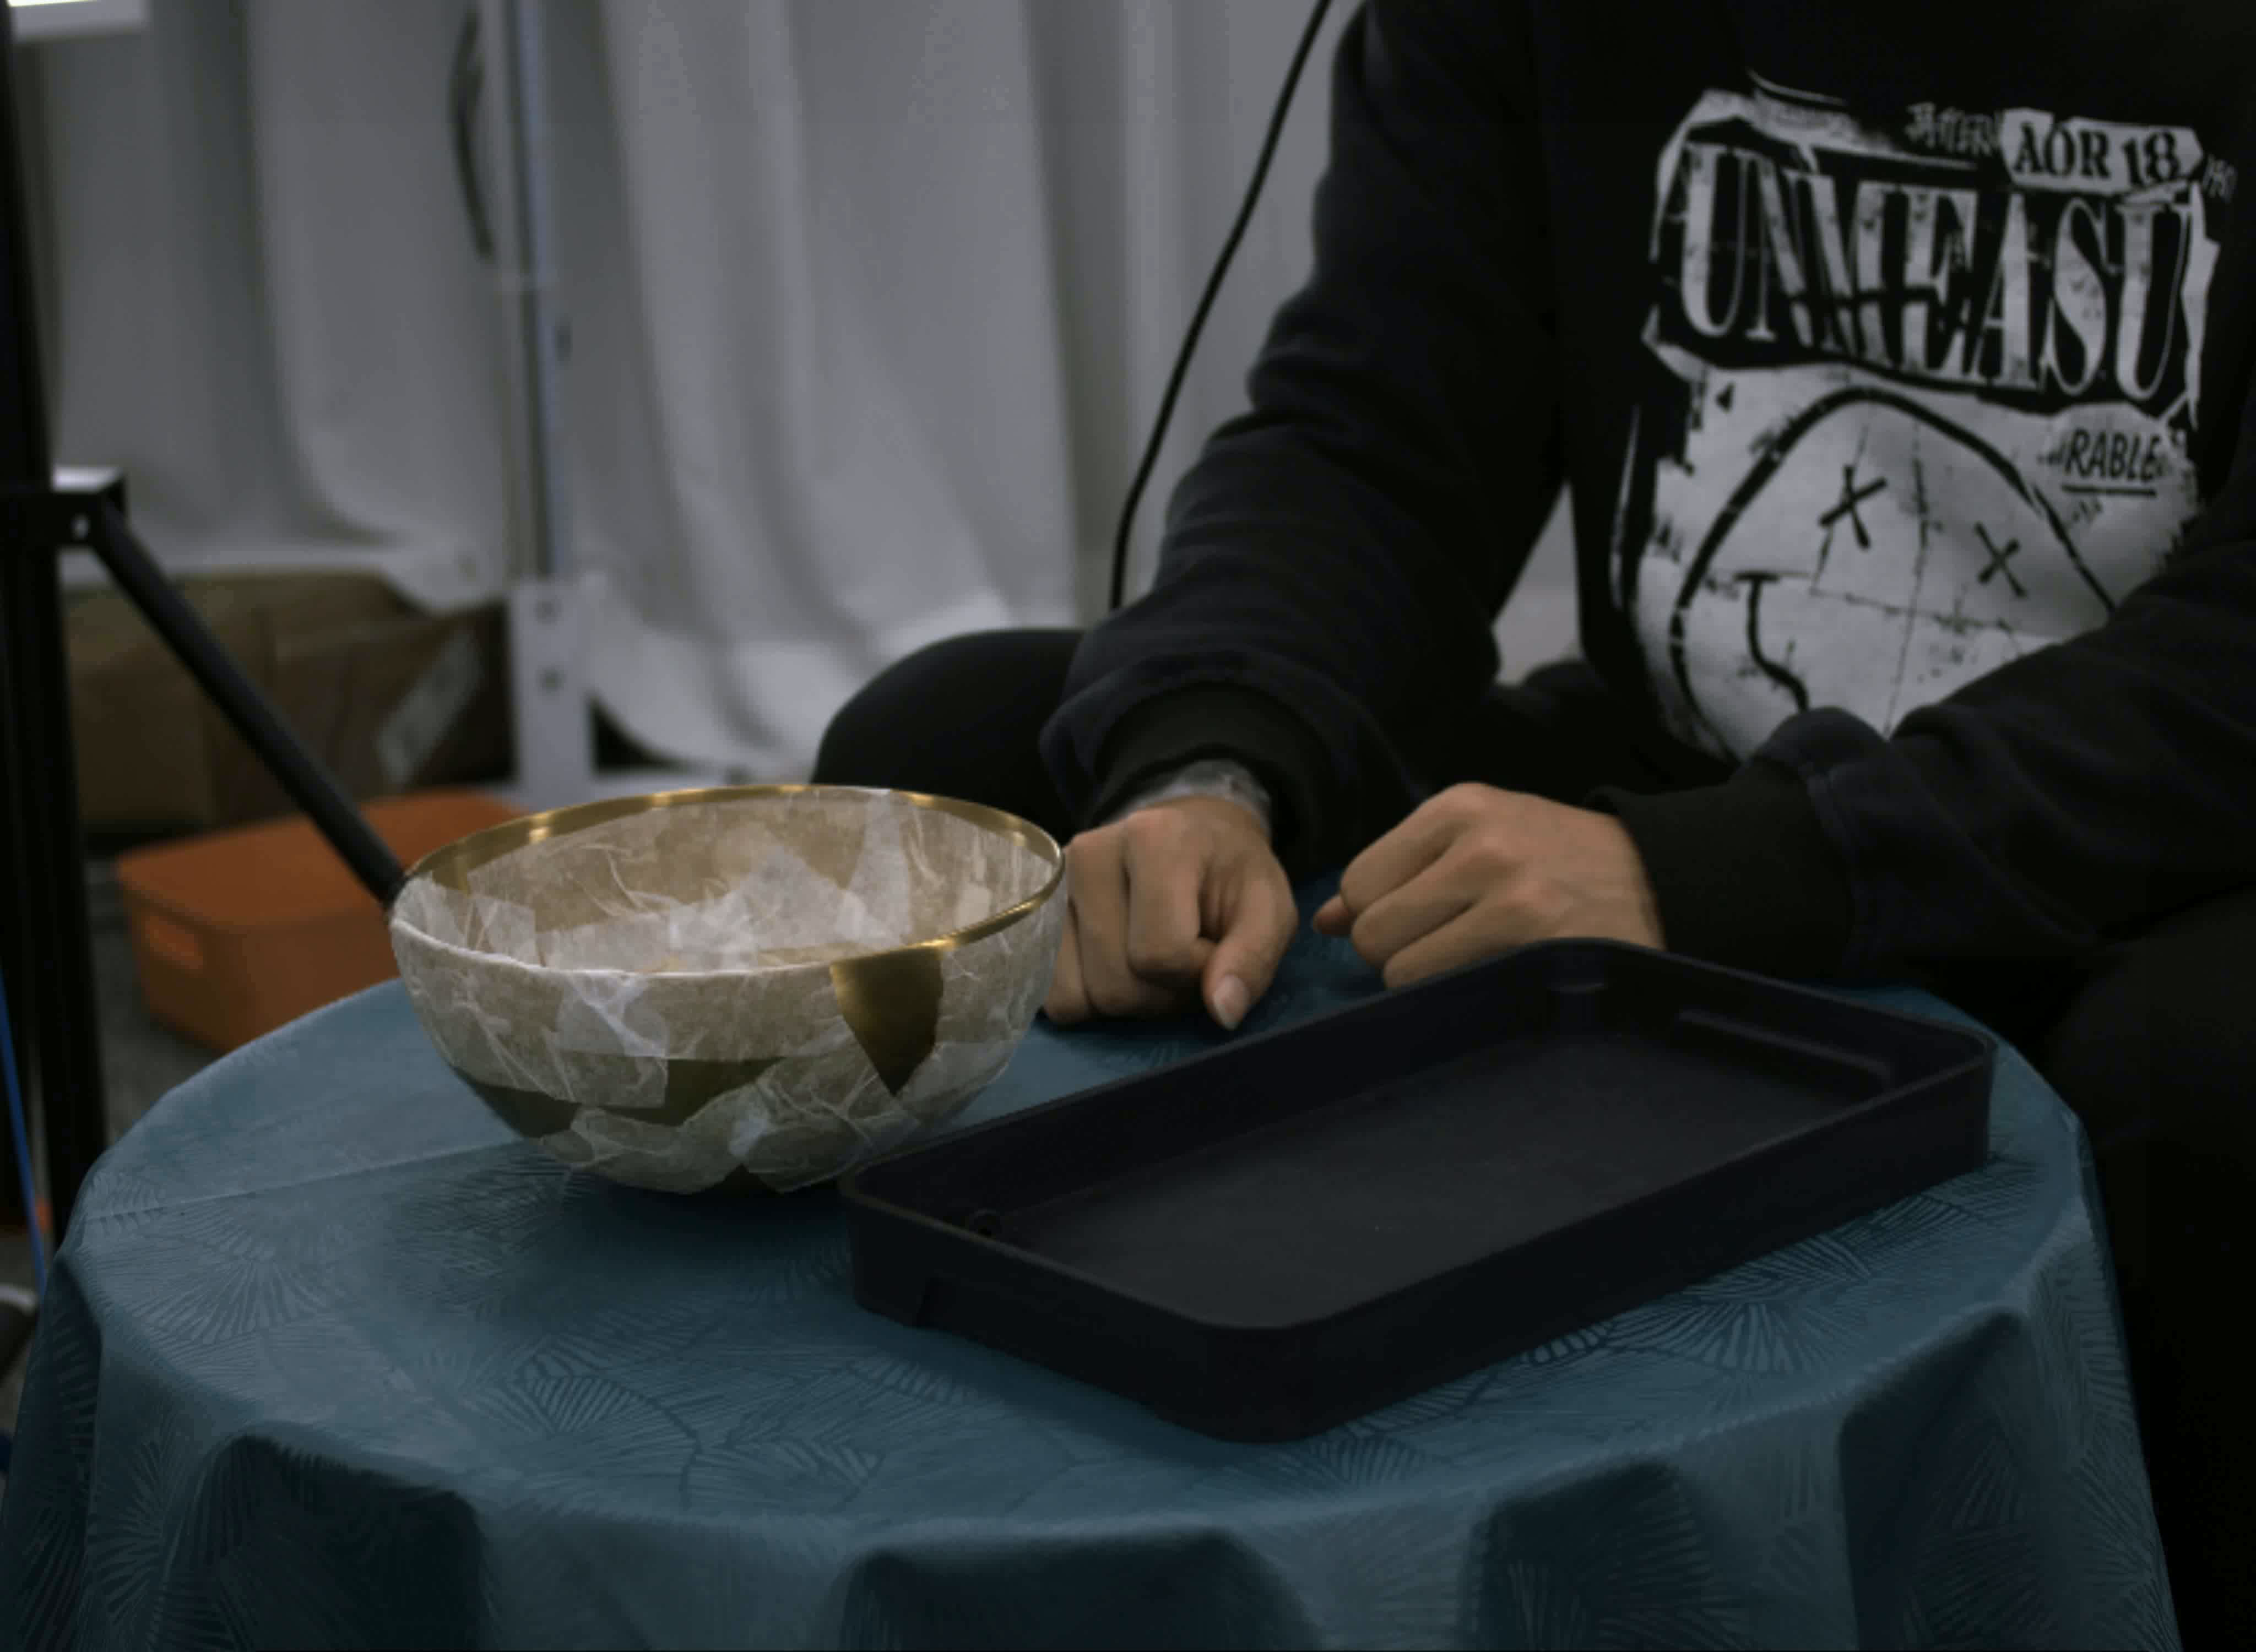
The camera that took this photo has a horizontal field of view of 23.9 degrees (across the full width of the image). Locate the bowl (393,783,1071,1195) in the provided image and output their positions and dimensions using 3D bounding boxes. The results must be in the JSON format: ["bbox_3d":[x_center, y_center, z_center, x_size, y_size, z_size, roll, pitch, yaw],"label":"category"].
[{"bbox_3d":[-0.112,0.056,1.593,0.213,0.094,0.216,-4,15,0],"label":"bowl"}]

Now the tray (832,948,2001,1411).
[{"bbox_3d":[0.087,0.095,1.513,0.310,0.037,0.188,-13,17,-39],"label":"tray"}]
